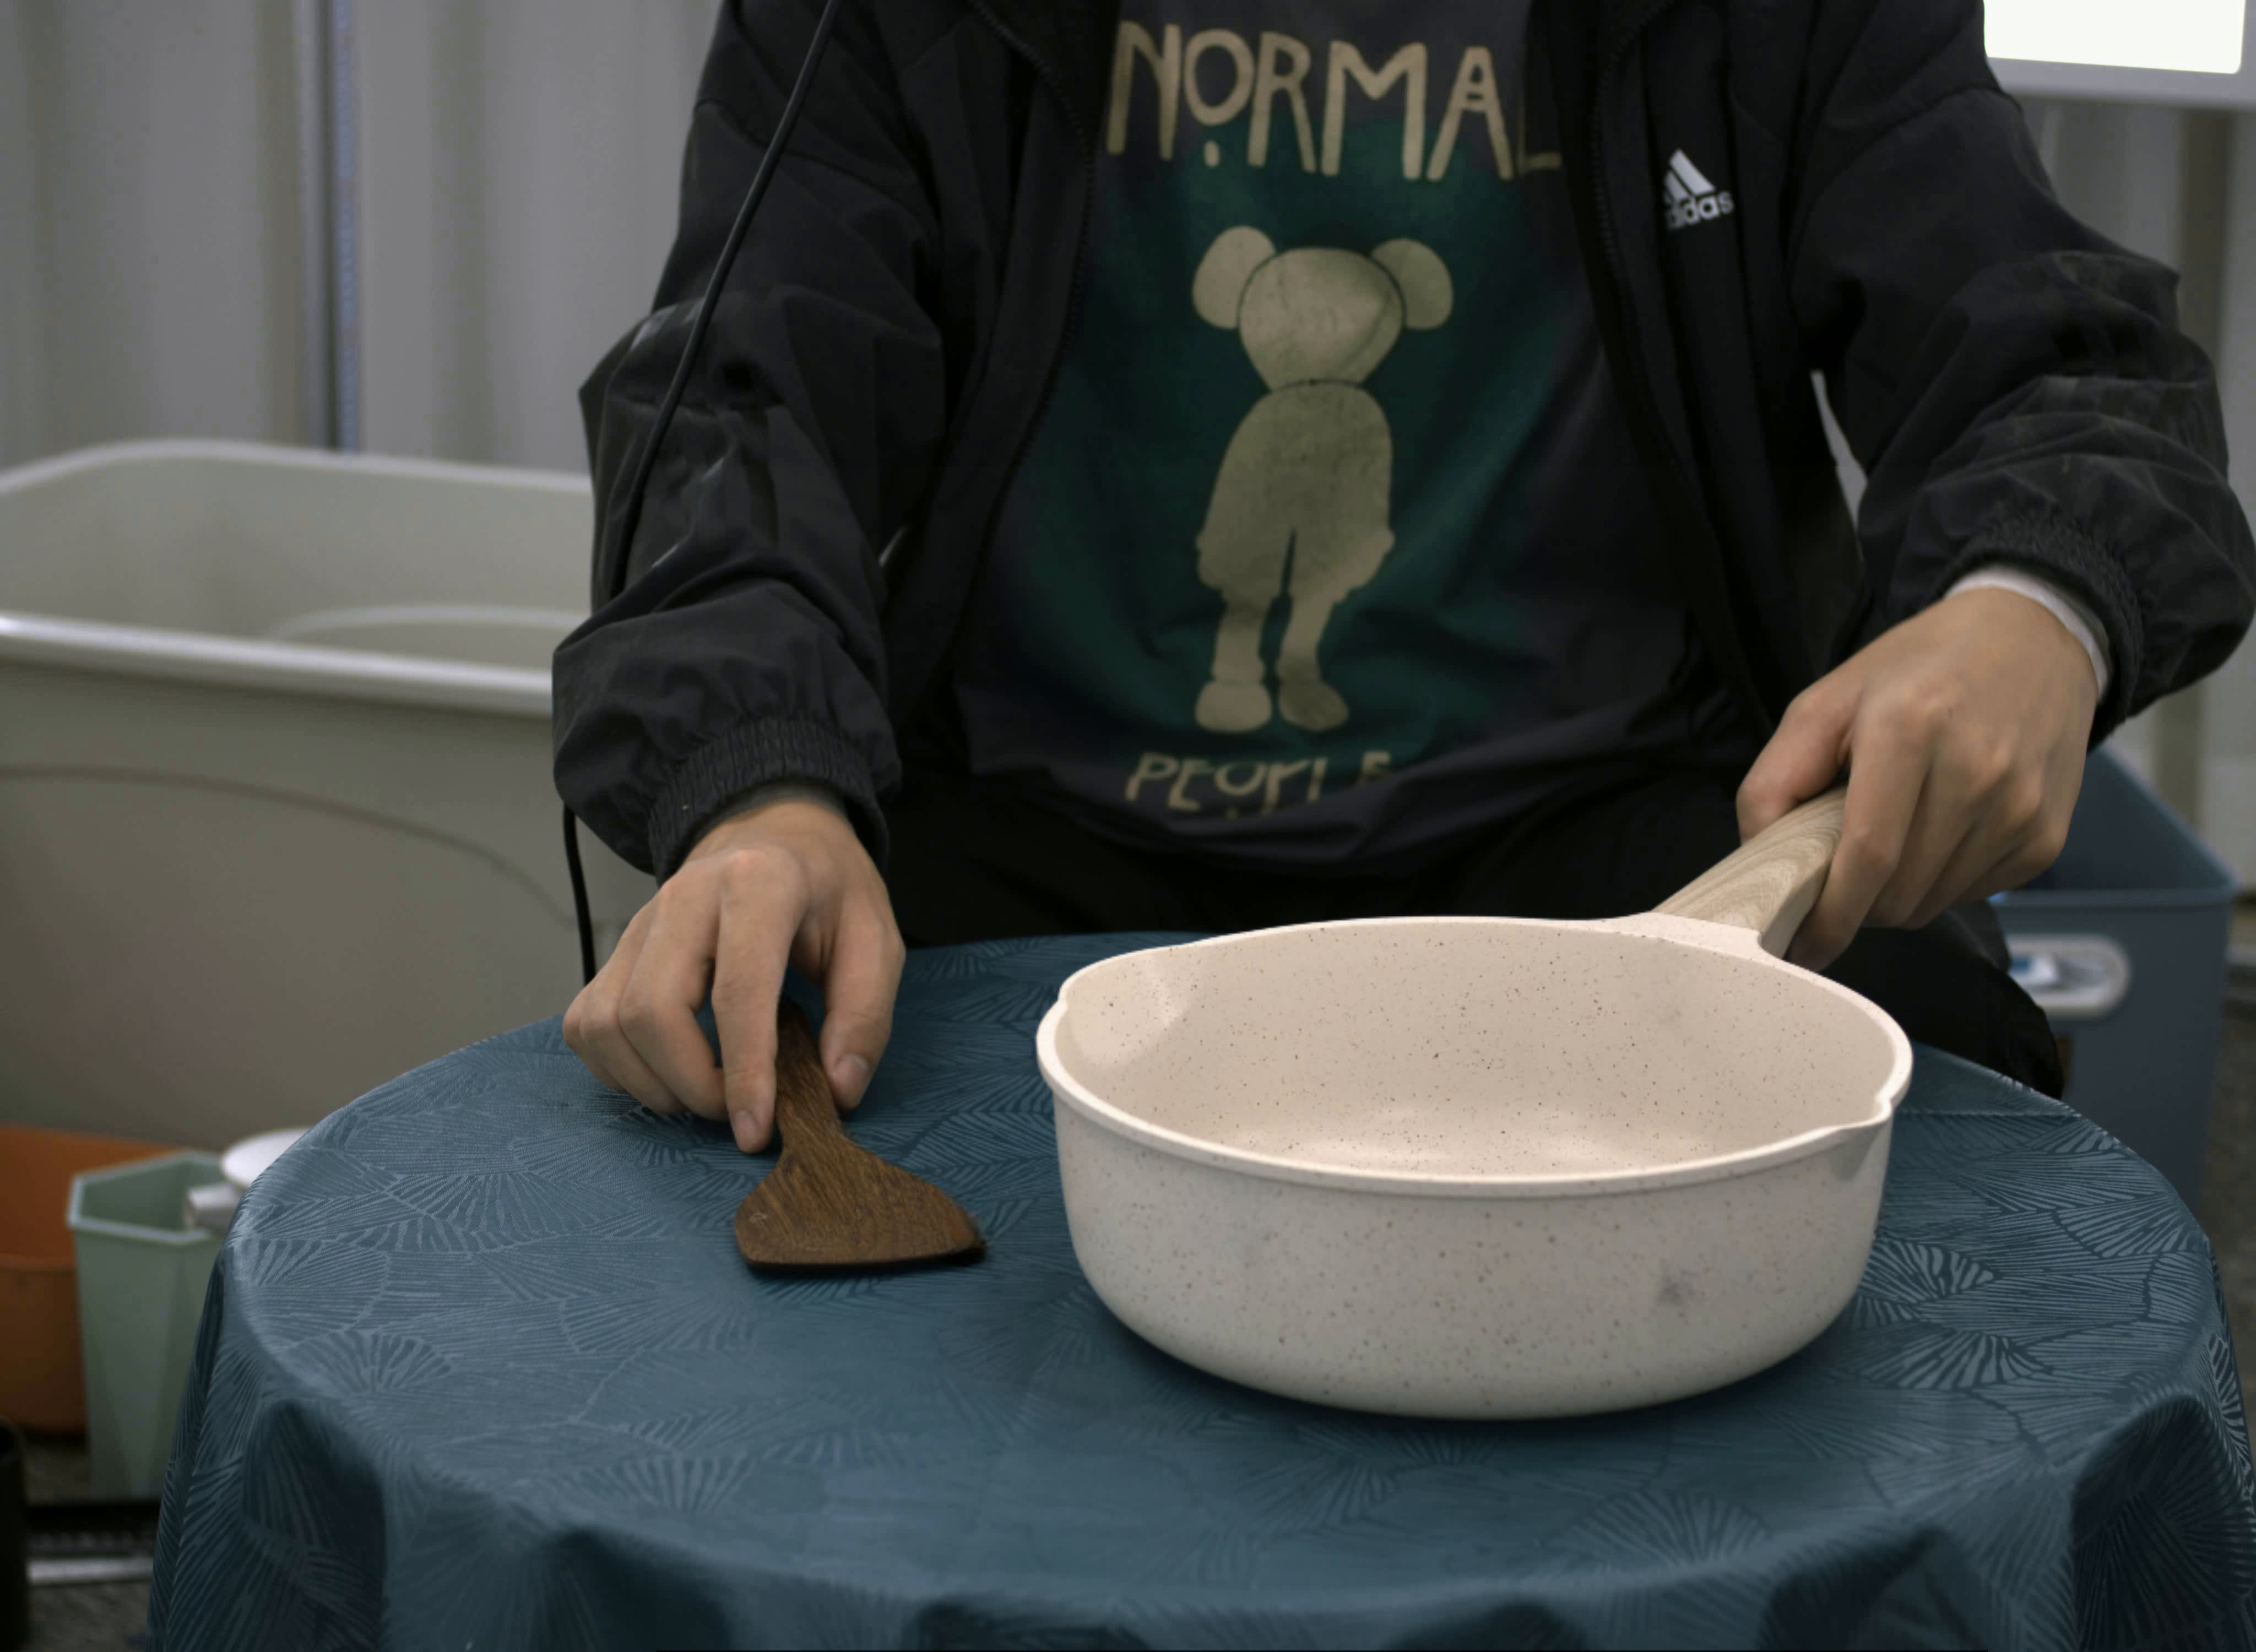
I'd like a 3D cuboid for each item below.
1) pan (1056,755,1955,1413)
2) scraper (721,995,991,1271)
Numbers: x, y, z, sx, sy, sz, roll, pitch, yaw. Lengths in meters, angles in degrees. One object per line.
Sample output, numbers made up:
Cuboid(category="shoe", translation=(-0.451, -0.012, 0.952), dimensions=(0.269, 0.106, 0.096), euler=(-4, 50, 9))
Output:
Cuboid(category="pan", translation=(0.153, 0.072, 1.591), dimensions=(0.260, 0.103, 0.436), euler=(8, 17, 31))
Cuboid(category="scraper", translation=(-0.098, 0.095, 1.642), dimensions=(0.076, 0.011, 0.209), euler=(-2, 21, -13))
